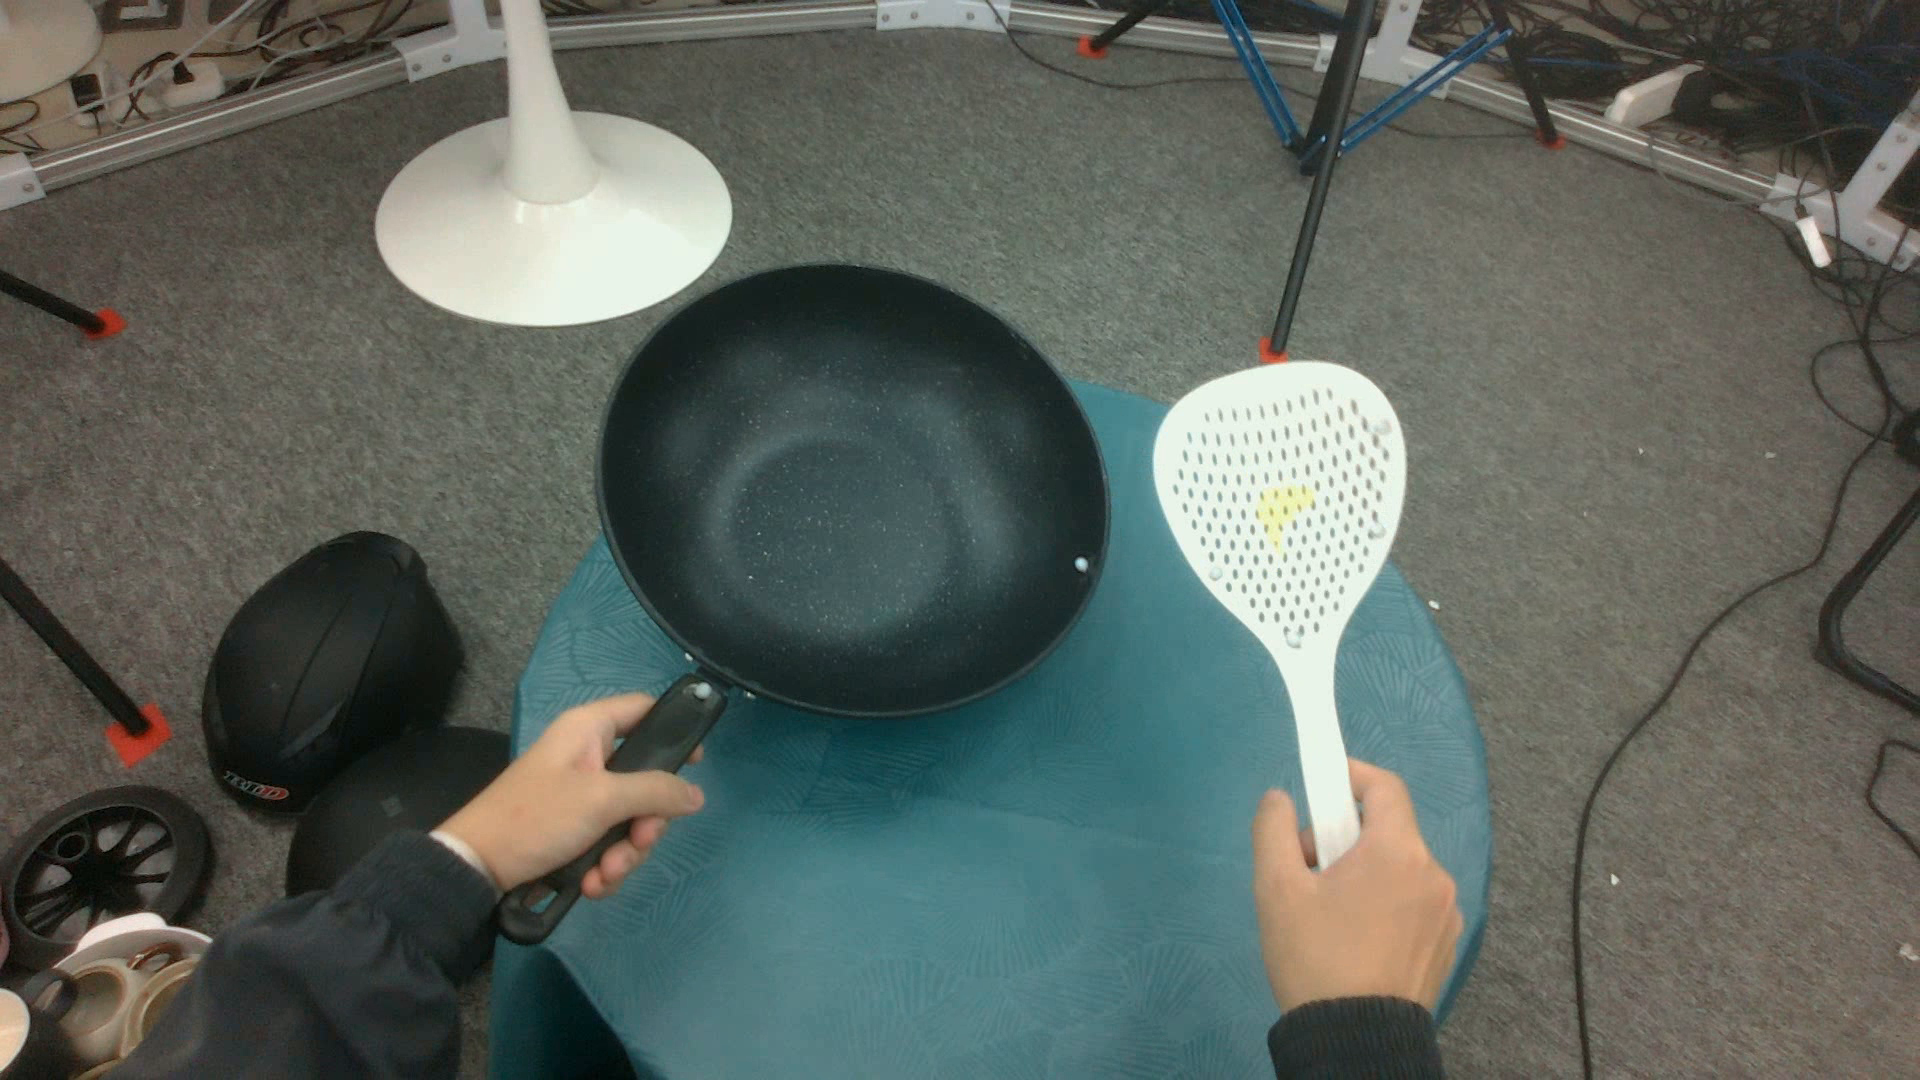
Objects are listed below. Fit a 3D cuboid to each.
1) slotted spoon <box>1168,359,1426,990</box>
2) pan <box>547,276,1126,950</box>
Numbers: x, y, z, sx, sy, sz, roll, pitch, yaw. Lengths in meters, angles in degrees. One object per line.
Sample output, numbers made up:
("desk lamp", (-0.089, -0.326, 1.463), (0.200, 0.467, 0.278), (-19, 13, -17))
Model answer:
("slotted spoon", (0.194, 0.055, 0.728), (0.136, 0.050, 0.349), (-10, 56, 13))
("pan", (-0.090, 0.038, 0.816), (0.310, 0.111, 0.479), (28, 59, 4))
